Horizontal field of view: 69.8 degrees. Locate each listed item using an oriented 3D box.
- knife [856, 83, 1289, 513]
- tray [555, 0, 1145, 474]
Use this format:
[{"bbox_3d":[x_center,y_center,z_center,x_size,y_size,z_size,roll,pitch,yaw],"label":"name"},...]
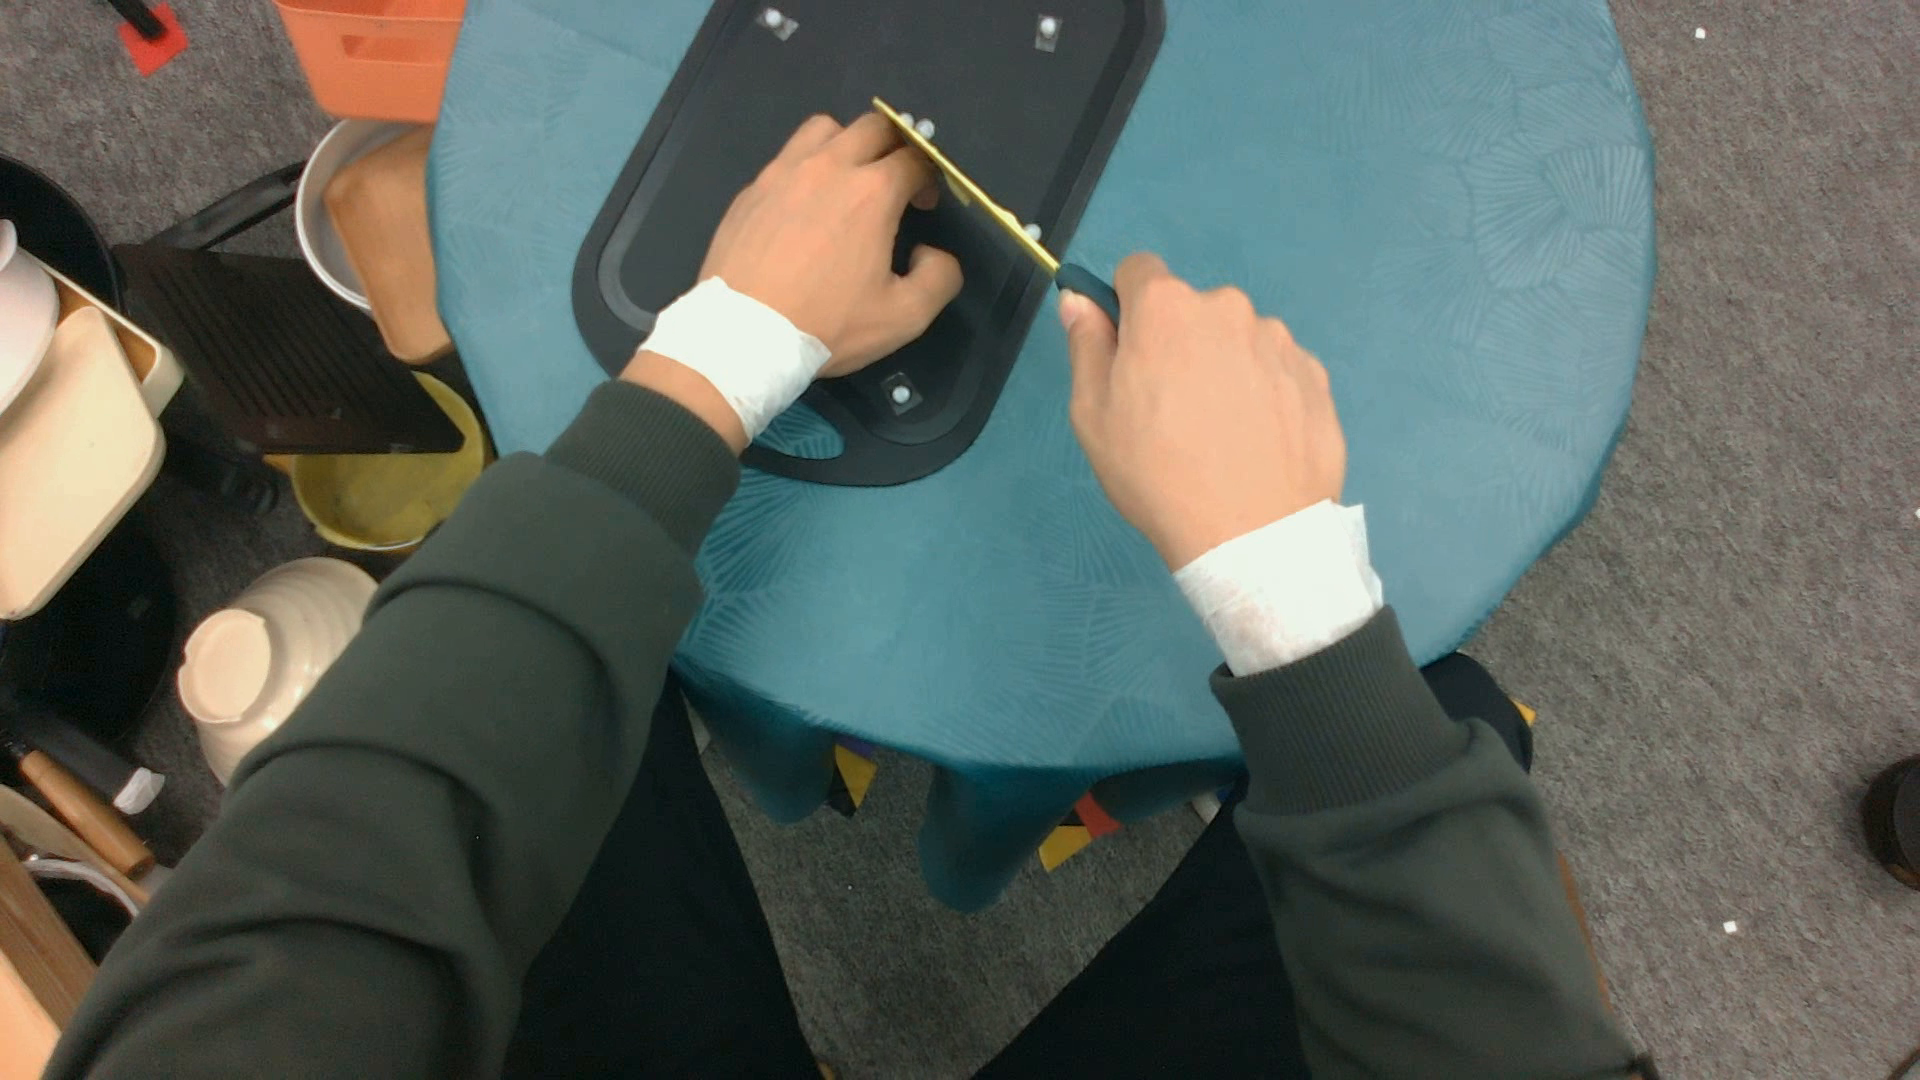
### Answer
[{"bbox_3d":[0.038,-0.112,0.585,0.027,0.081,0.290,-45,63,10],"label":"knife"},{"bbox_3d":[-0.051,-0.190,0.669,0.211,0.010,0.326,24,77,2],"label":"tray"}]
